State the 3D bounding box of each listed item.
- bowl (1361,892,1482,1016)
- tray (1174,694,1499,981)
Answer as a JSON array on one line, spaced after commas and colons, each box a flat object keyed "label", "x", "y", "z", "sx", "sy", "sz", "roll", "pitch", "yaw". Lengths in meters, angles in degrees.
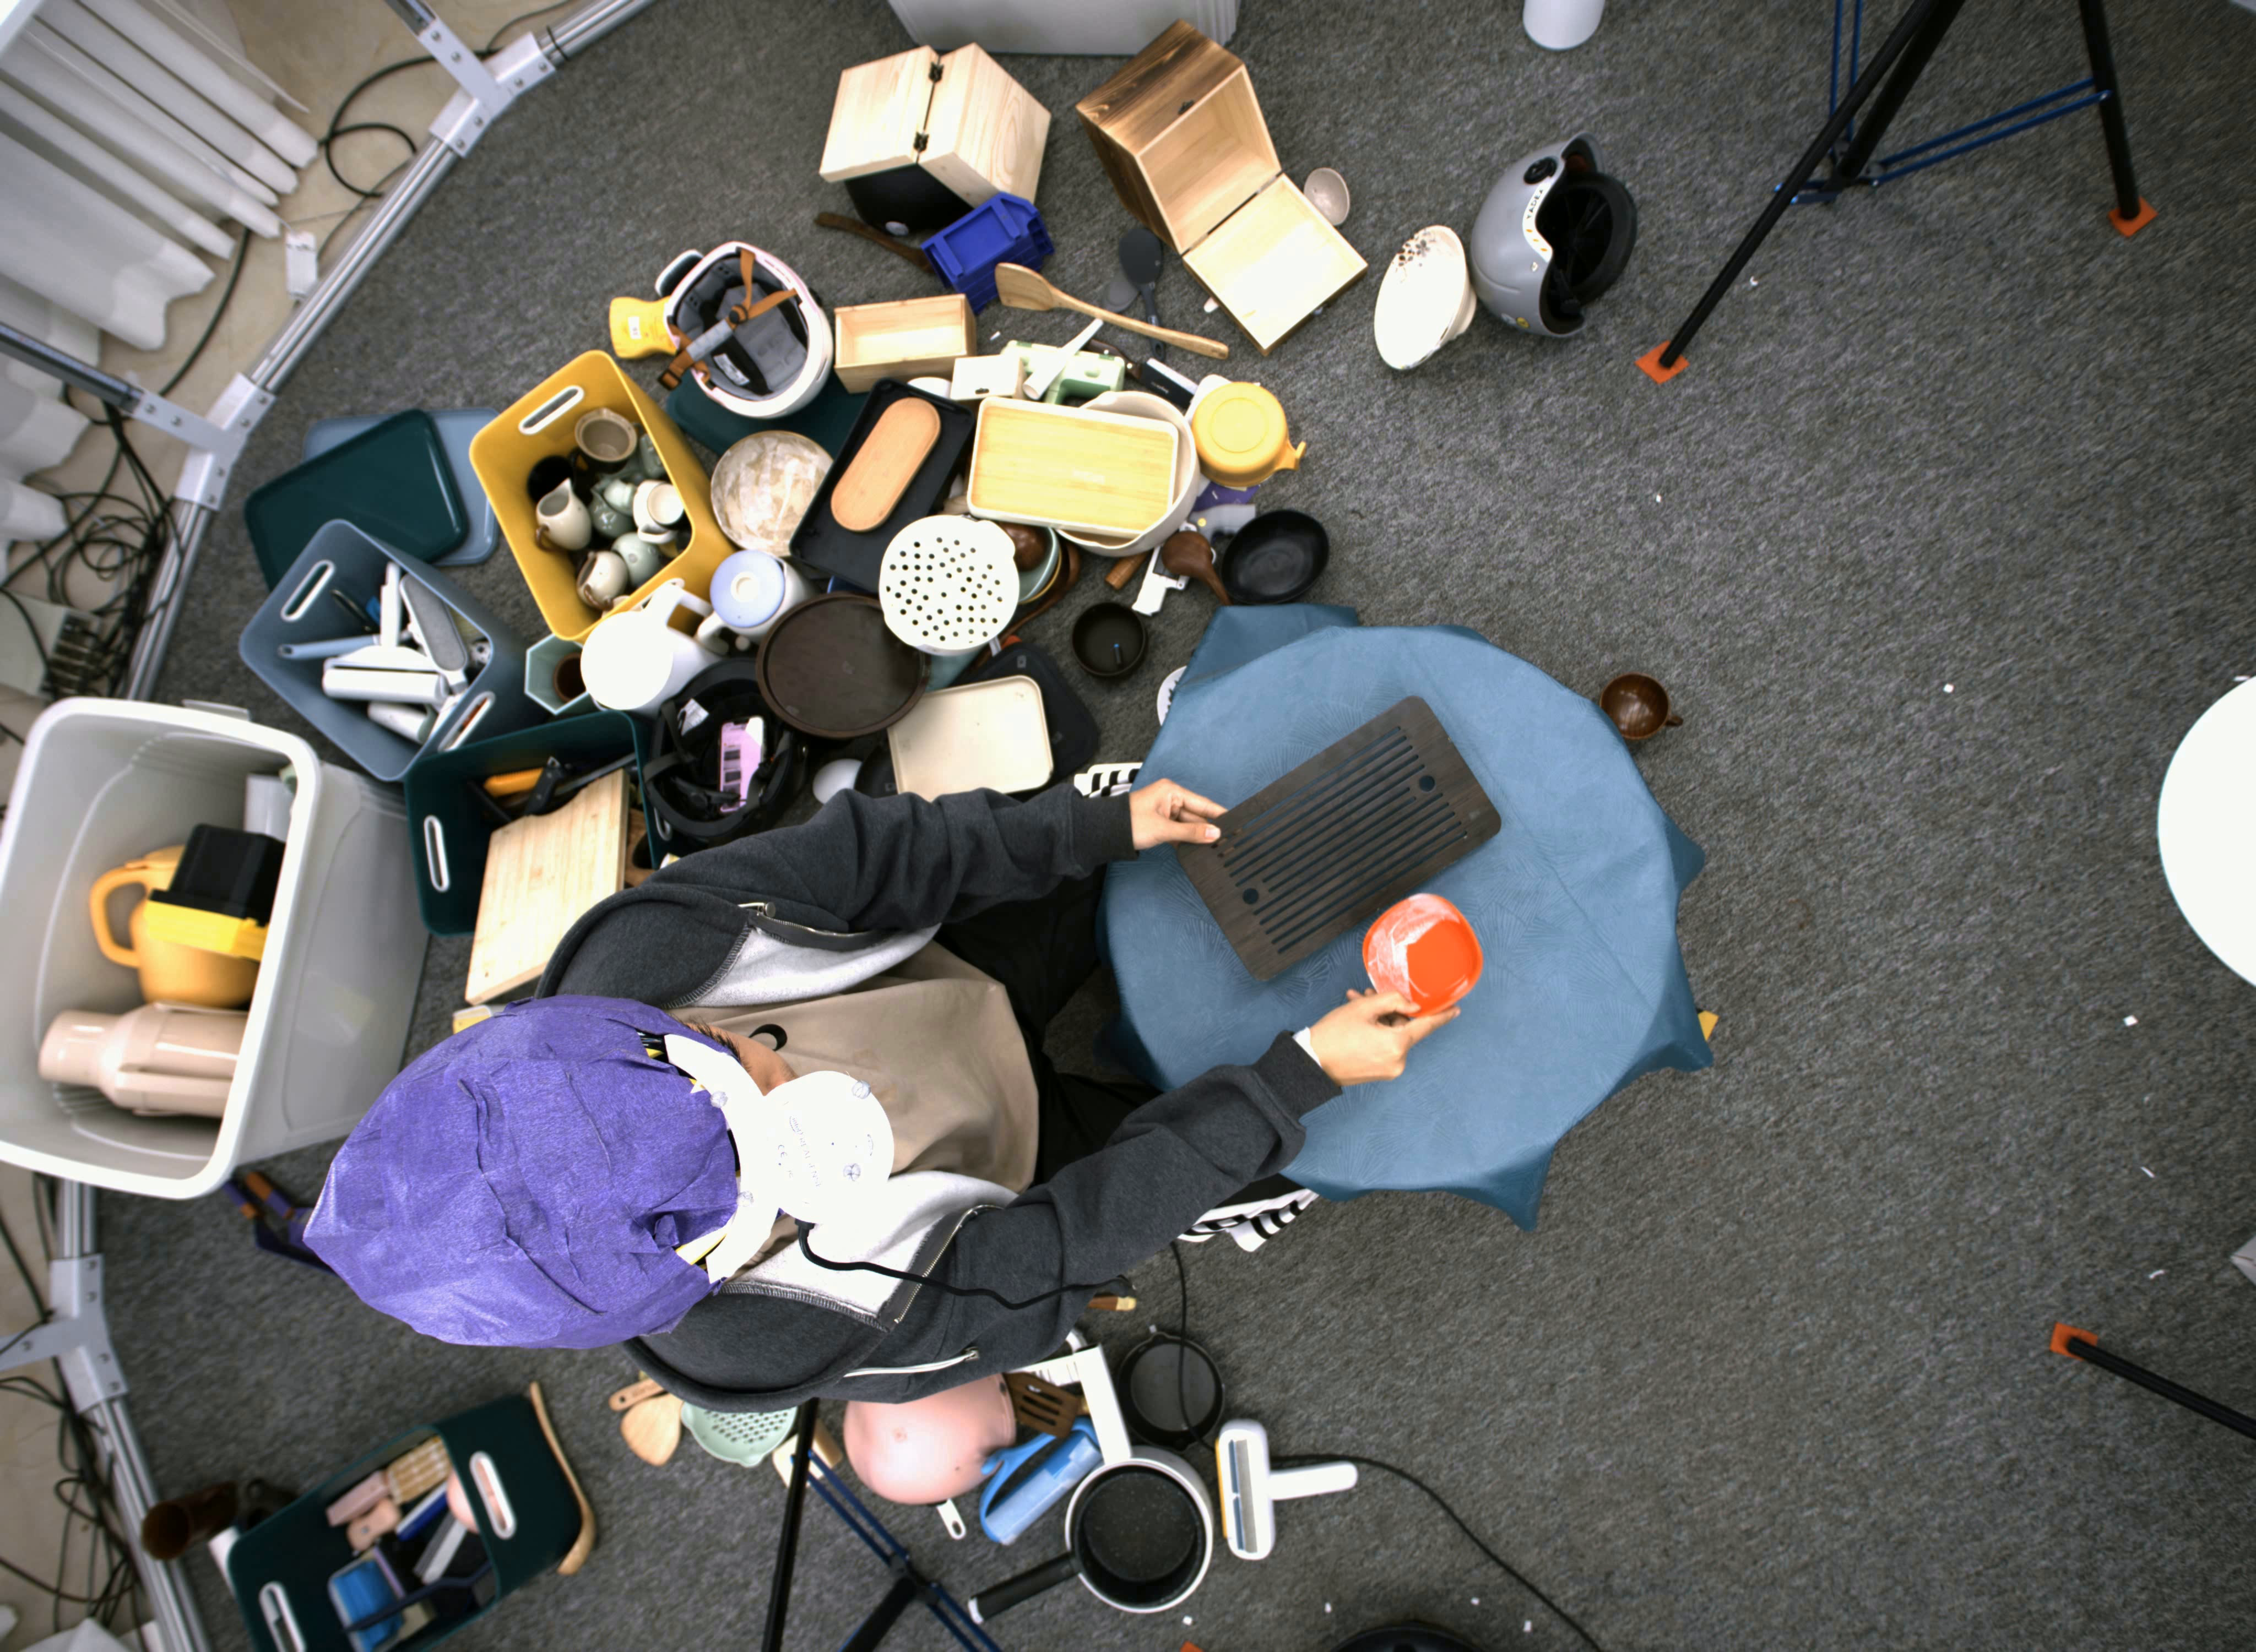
[{"label": "bowl", "x": 0.288, "y": 0.124, "z": 1.327, "sx": 0.120, "sy": 0.051, "sz": 0.118, "roll": -7, "pitch": 78, "yaw": 31}, {"label": "tray", "x": 0.214, "y": 0.010, "z": 1.423, "sx": 0.307, "sy": 0.018, "sz": 0.170, "roll": -33, "pitch": 89, "yaw": 3}]
